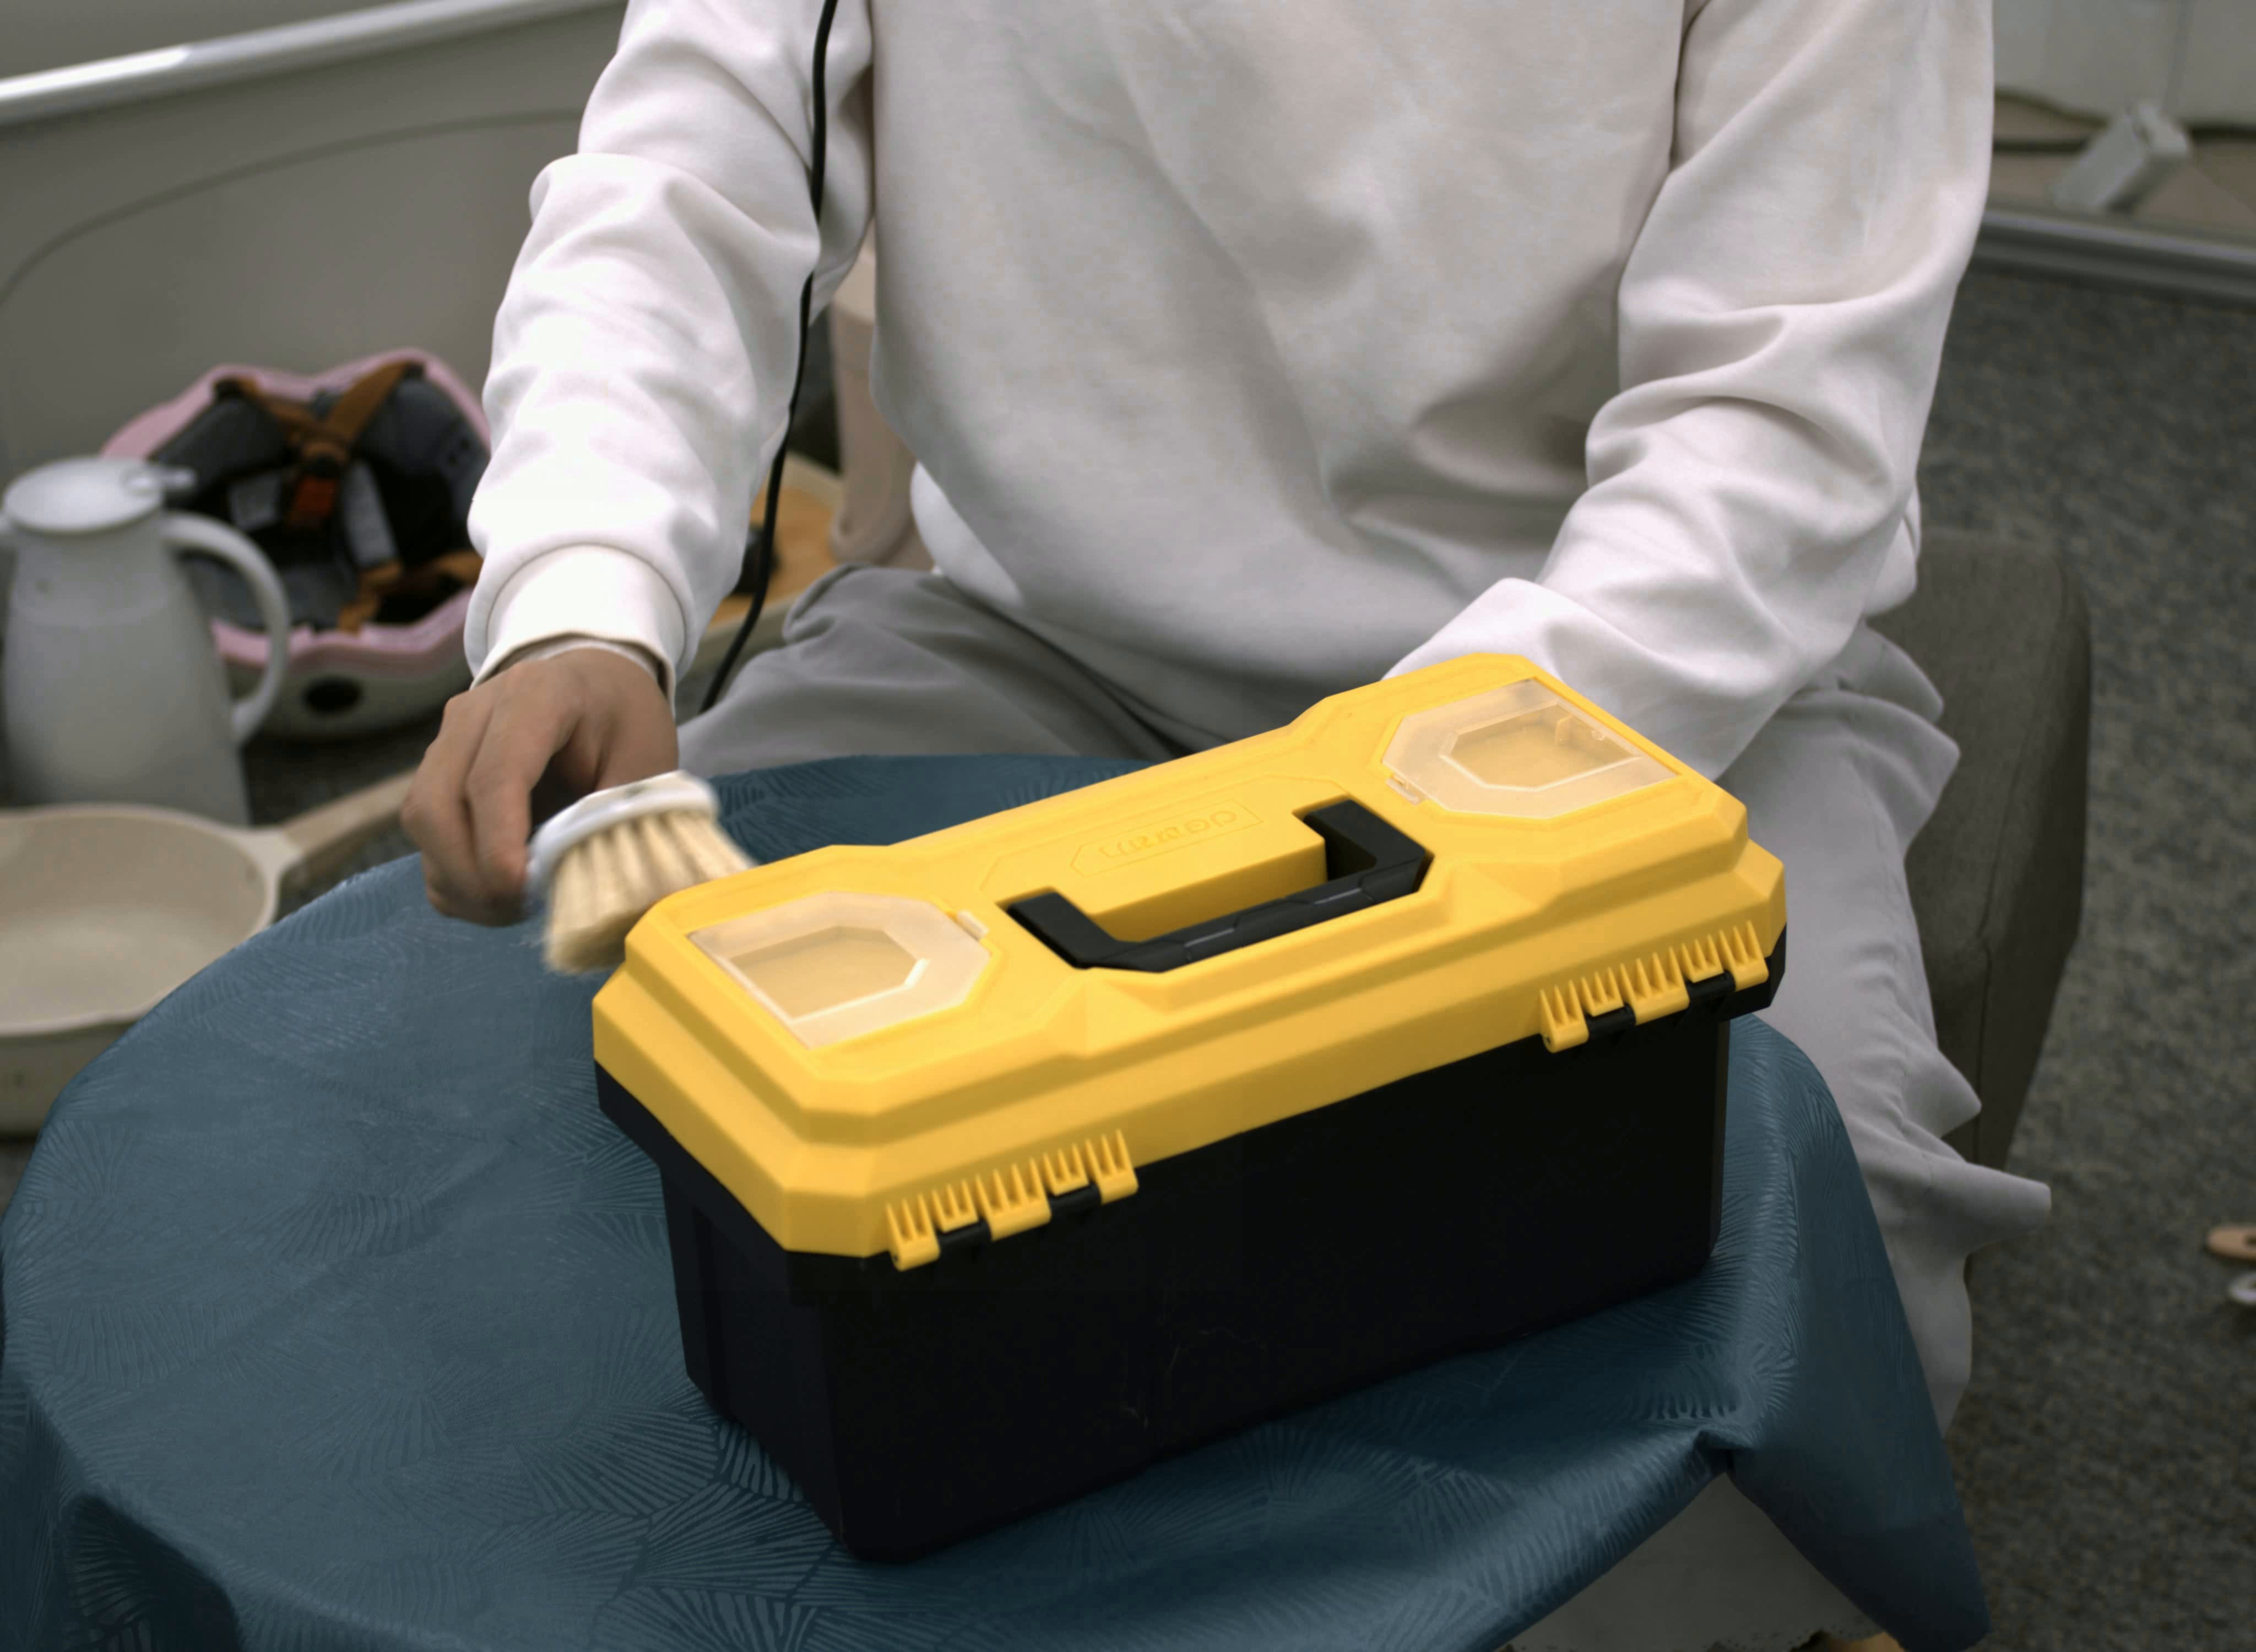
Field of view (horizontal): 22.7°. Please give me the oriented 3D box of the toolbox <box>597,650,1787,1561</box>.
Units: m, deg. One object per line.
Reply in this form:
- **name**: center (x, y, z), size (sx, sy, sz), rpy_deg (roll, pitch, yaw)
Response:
- **toolbox**: center (0.022, 0.082, 1.752), size (0.353, 0.171, 0.182), rpy_deg (-16, 31, -26)

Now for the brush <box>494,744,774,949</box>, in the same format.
- **brush**: center (-0.170, 0.022, 1.837), size (0.068, 0.057, 0.264), rpy_deg (-1, -9, -16)
